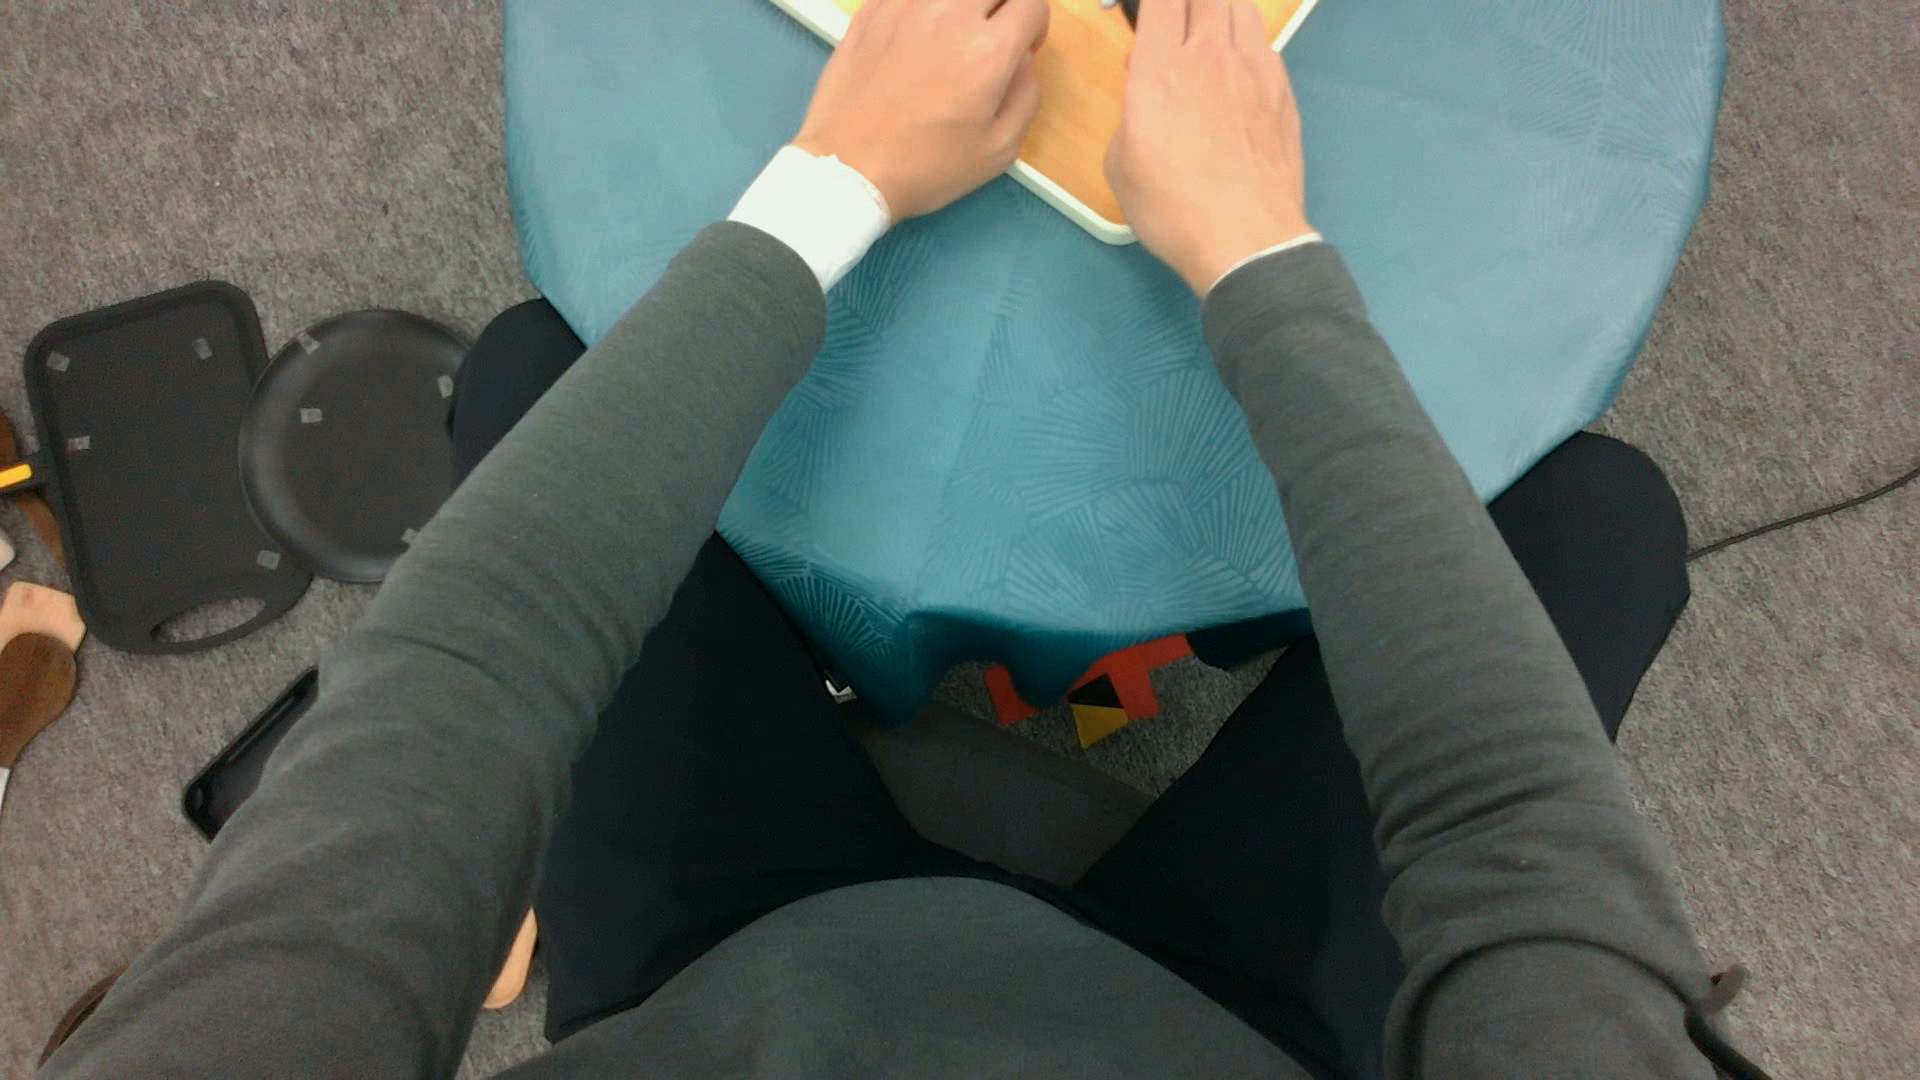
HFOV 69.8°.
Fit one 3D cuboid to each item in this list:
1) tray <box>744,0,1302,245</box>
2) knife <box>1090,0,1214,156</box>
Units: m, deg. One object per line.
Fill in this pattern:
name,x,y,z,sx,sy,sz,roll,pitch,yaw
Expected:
tray,0.009,-0.301,0.675,0.300,0.027,0.191,36,88,4
knife,0.050,-0.279,0.632,0.016,0.024,0.238,-31,86,5
